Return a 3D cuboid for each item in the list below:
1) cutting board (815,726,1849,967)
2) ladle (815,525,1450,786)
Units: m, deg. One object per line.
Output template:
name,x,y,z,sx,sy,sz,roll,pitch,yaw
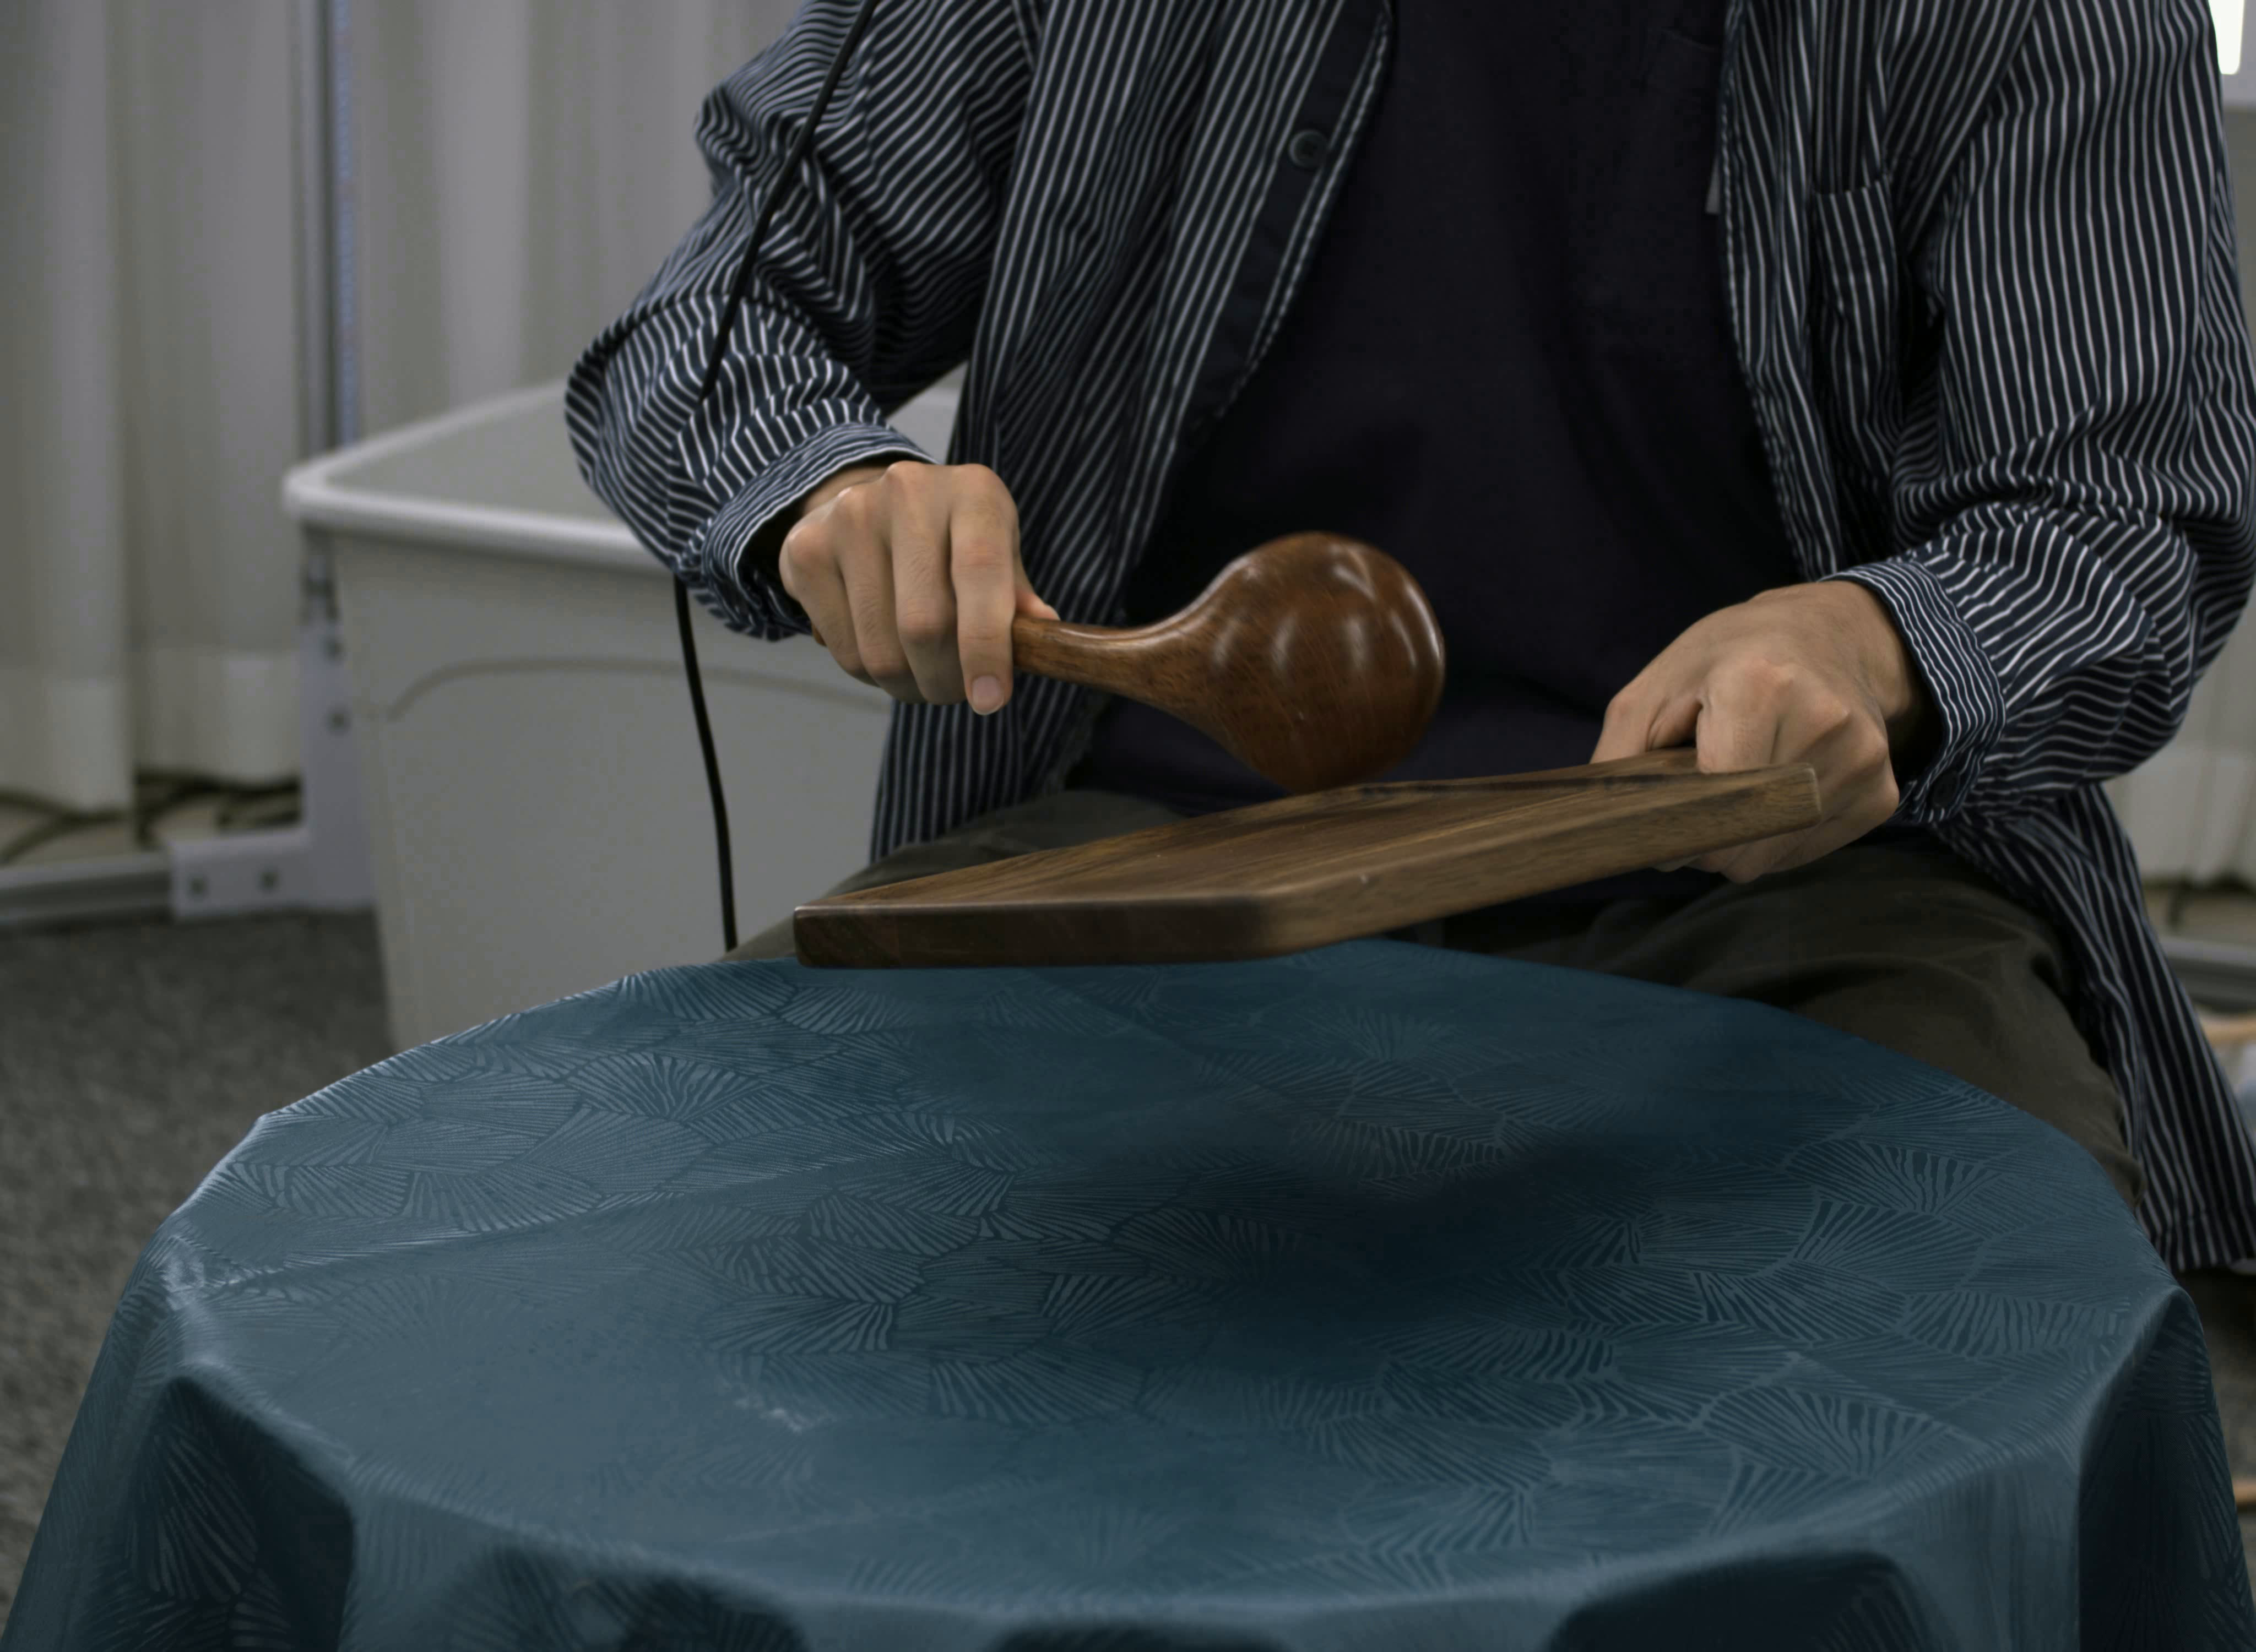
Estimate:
cutting board,0.096,0.003,1.580,0.199,0.023,0.354,-3,6,45
ladle,0.000,-0.062,1.732,0.077,0.082,0.271,-4,7,-35
